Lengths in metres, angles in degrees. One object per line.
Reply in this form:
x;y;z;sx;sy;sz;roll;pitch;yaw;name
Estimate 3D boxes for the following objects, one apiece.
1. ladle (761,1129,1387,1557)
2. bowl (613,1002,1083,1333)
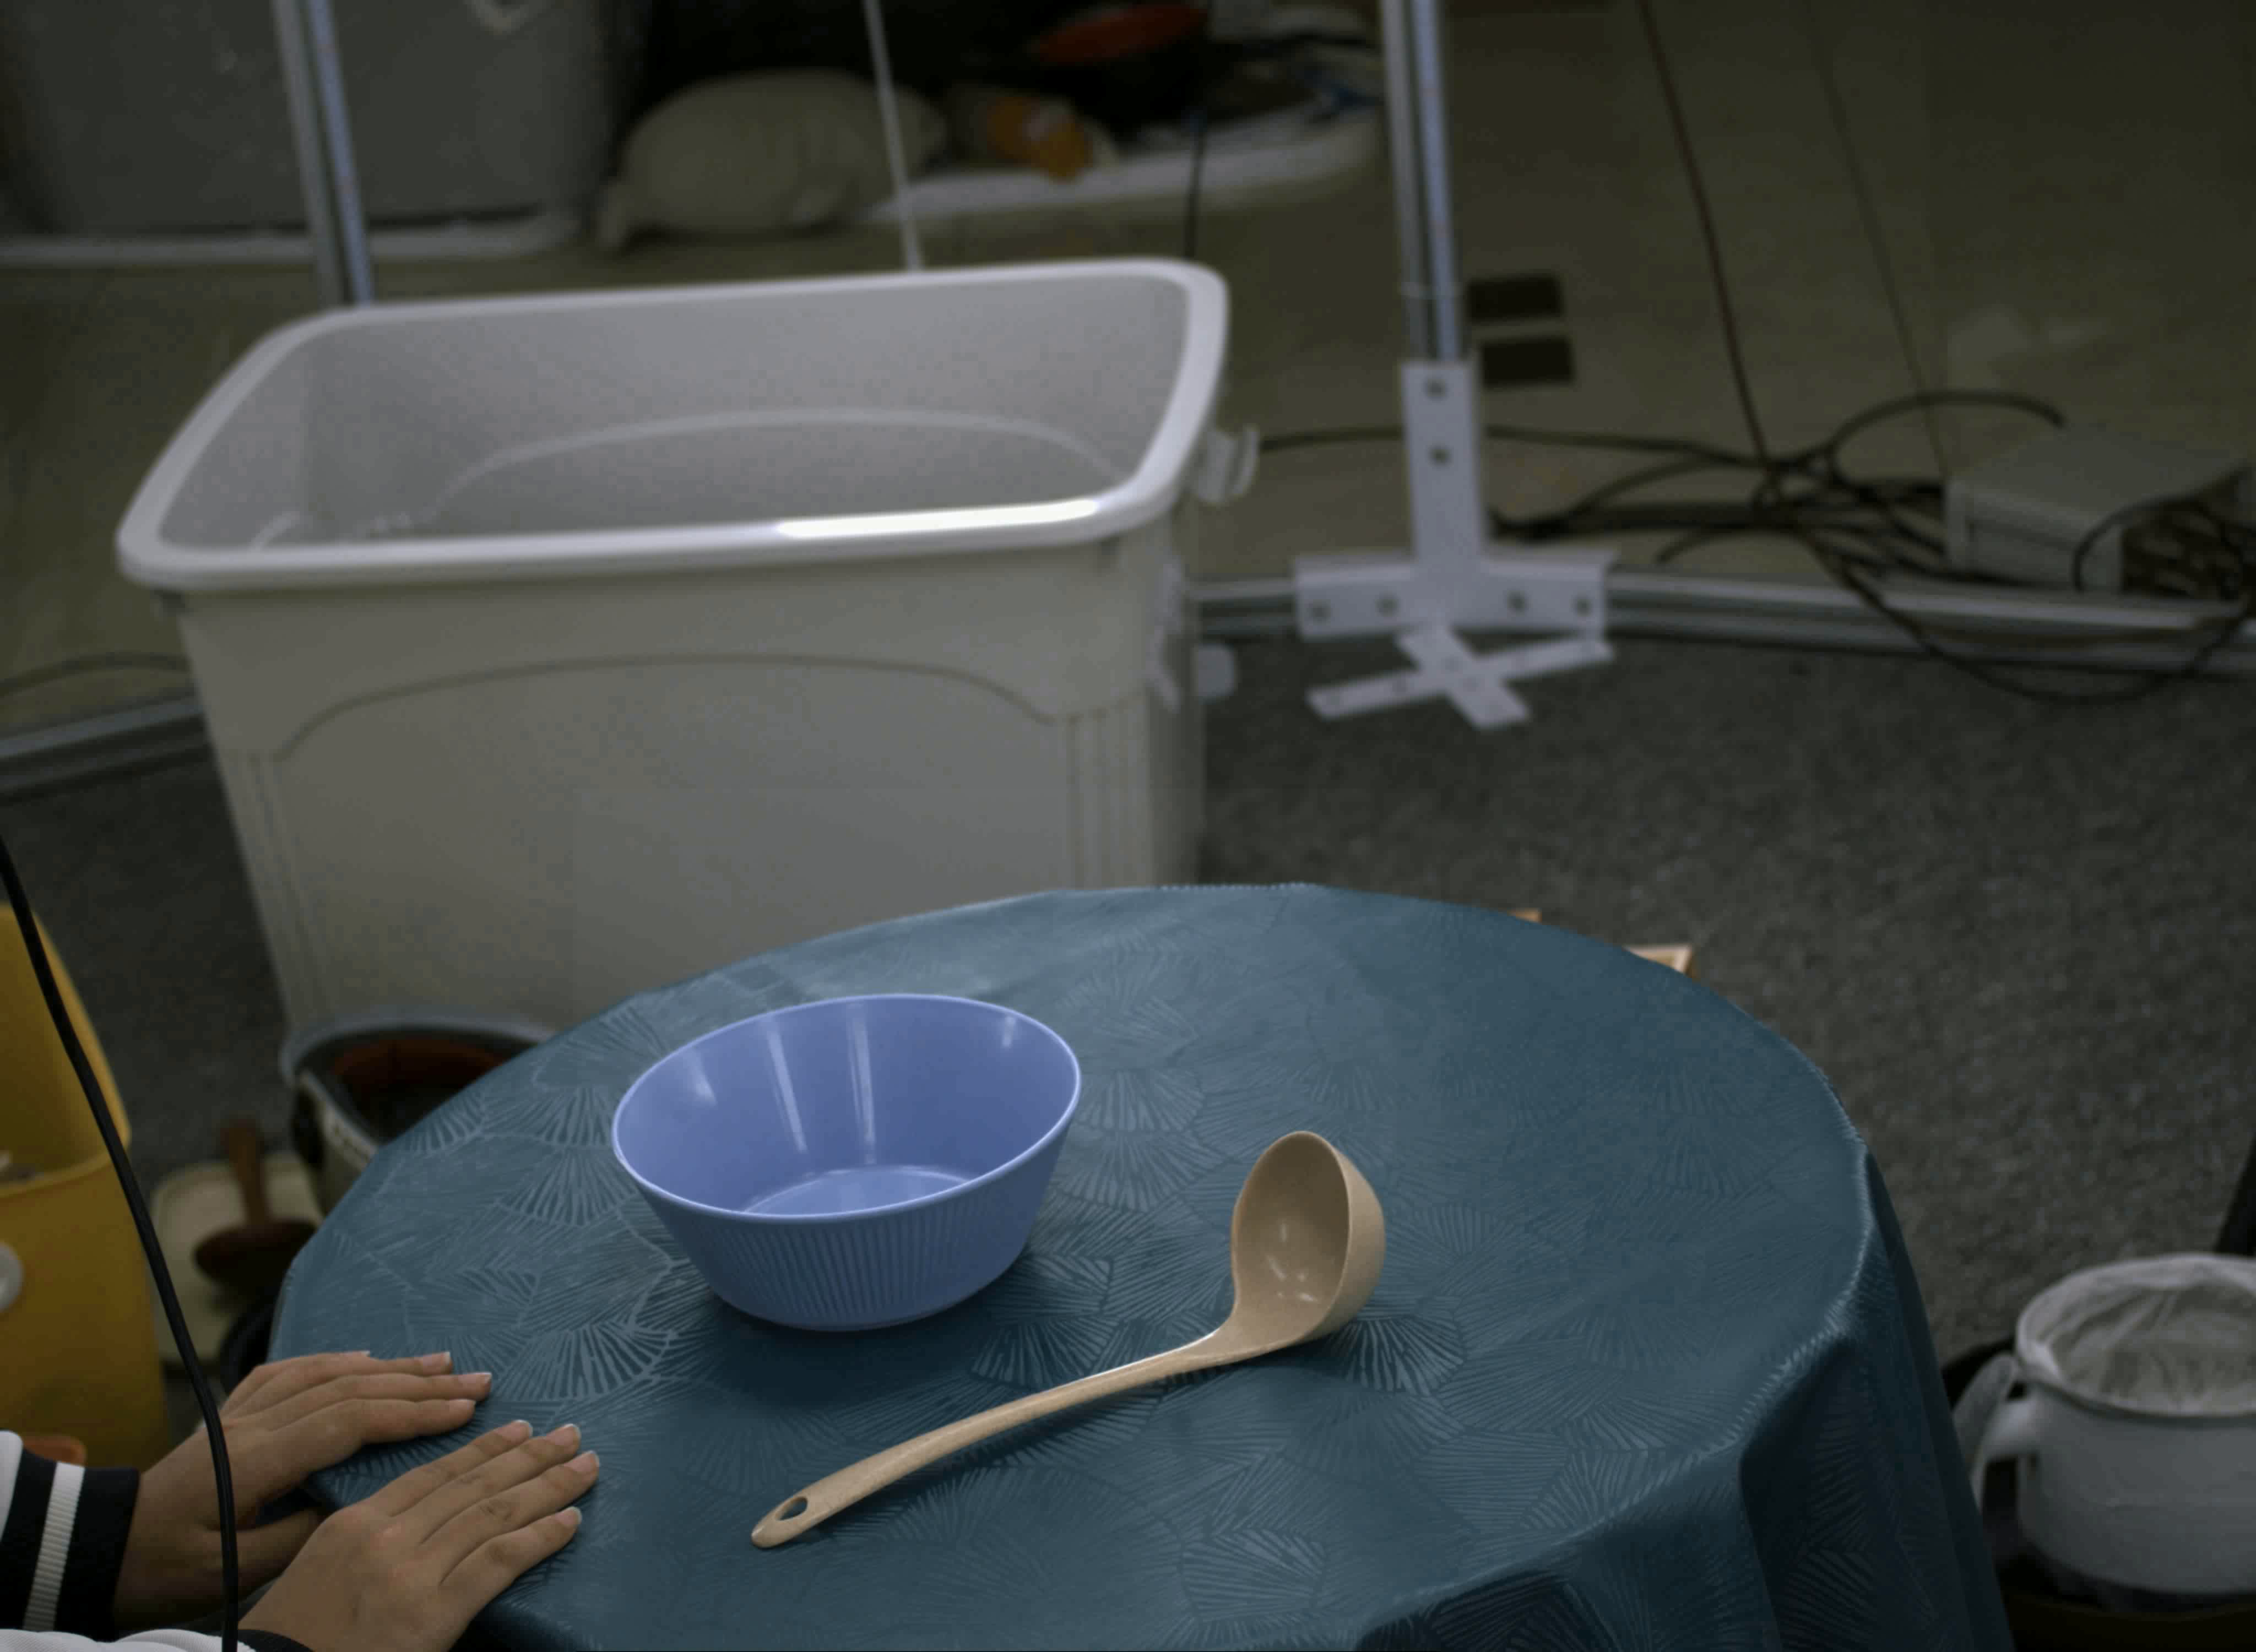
-0.023;0.177;1.984;0.253;0.074;0.071;-20;27;-27;ladle
-0.100;0.132;2.105;0.176;0.071;0.173;-5;24;3;bowl
